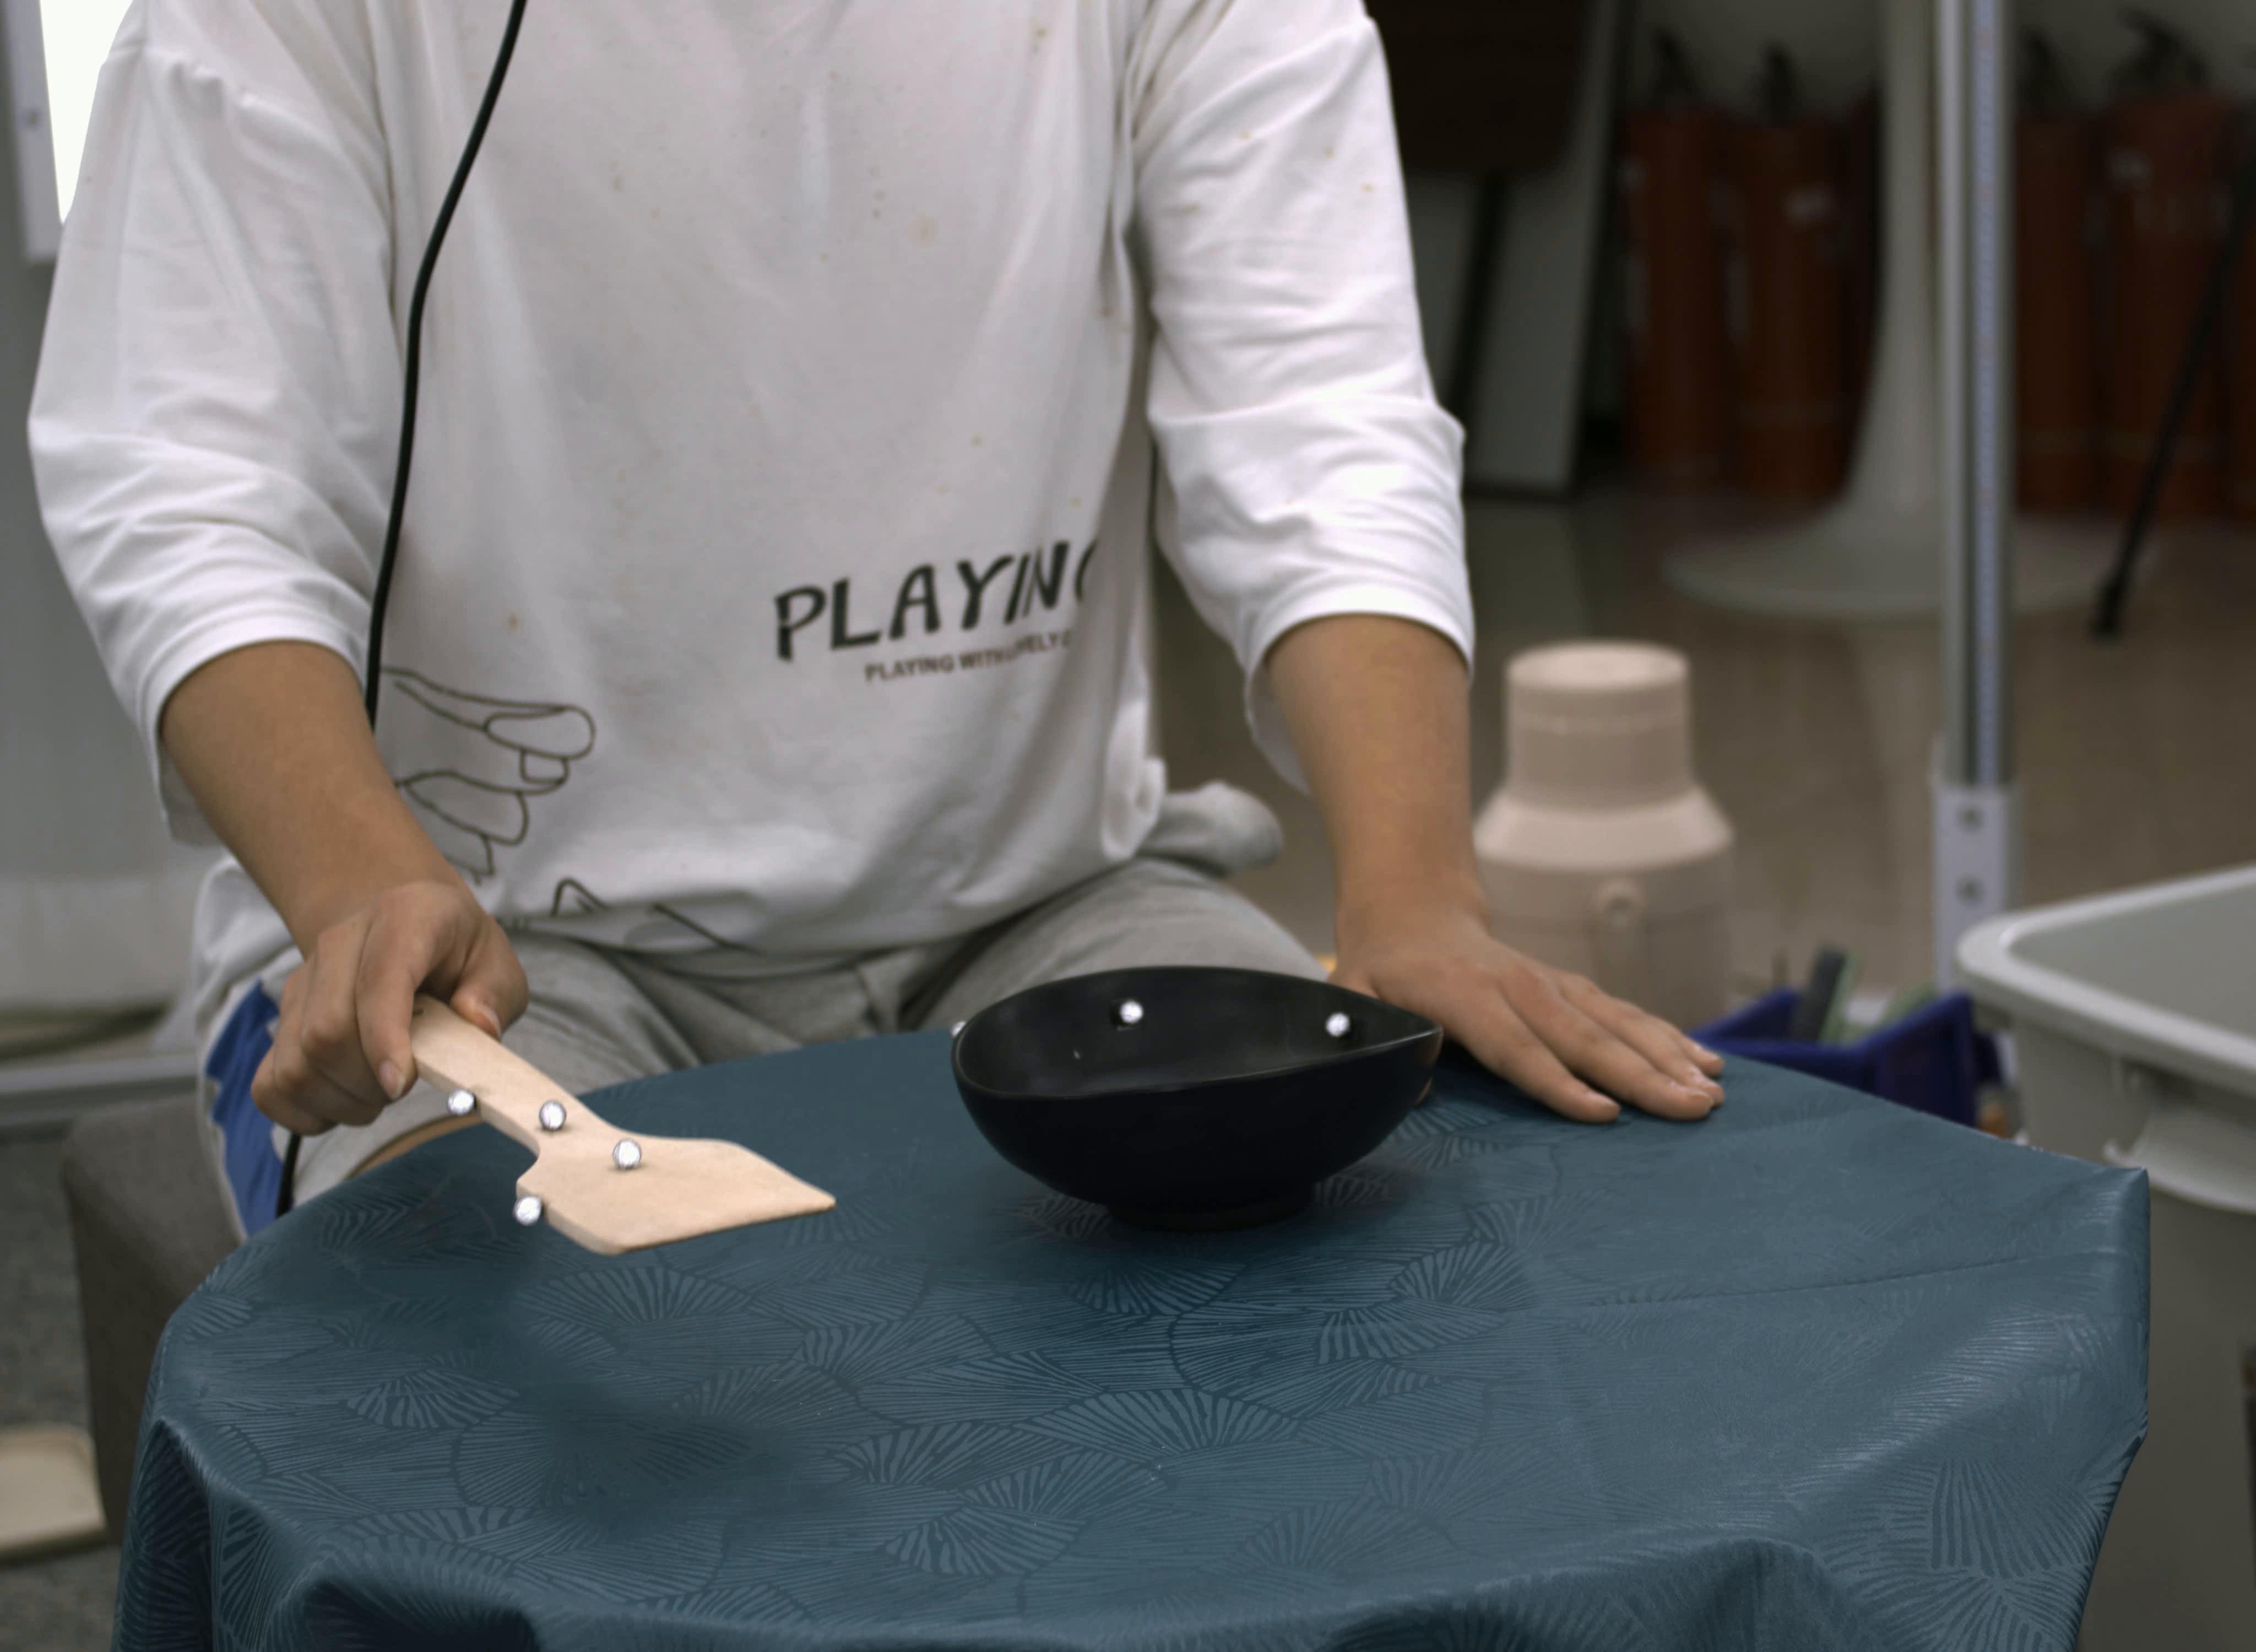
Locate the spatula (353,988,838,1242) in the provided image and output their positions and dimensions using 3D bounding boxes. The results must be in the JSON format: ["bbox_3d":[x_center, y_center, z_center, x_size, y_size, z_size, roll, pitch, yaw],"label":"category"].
[{"bbox_3d":[-0.177,0.085,1.644,0.071,0.011,0.296,-11,15,-25],"label":"spatula"}]

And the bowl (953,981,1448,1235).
[{"bbox_3d":[0.024,0.093,1.751,0.166,0.067,0.139,-9,13,-29],"label":"bowl"}]
